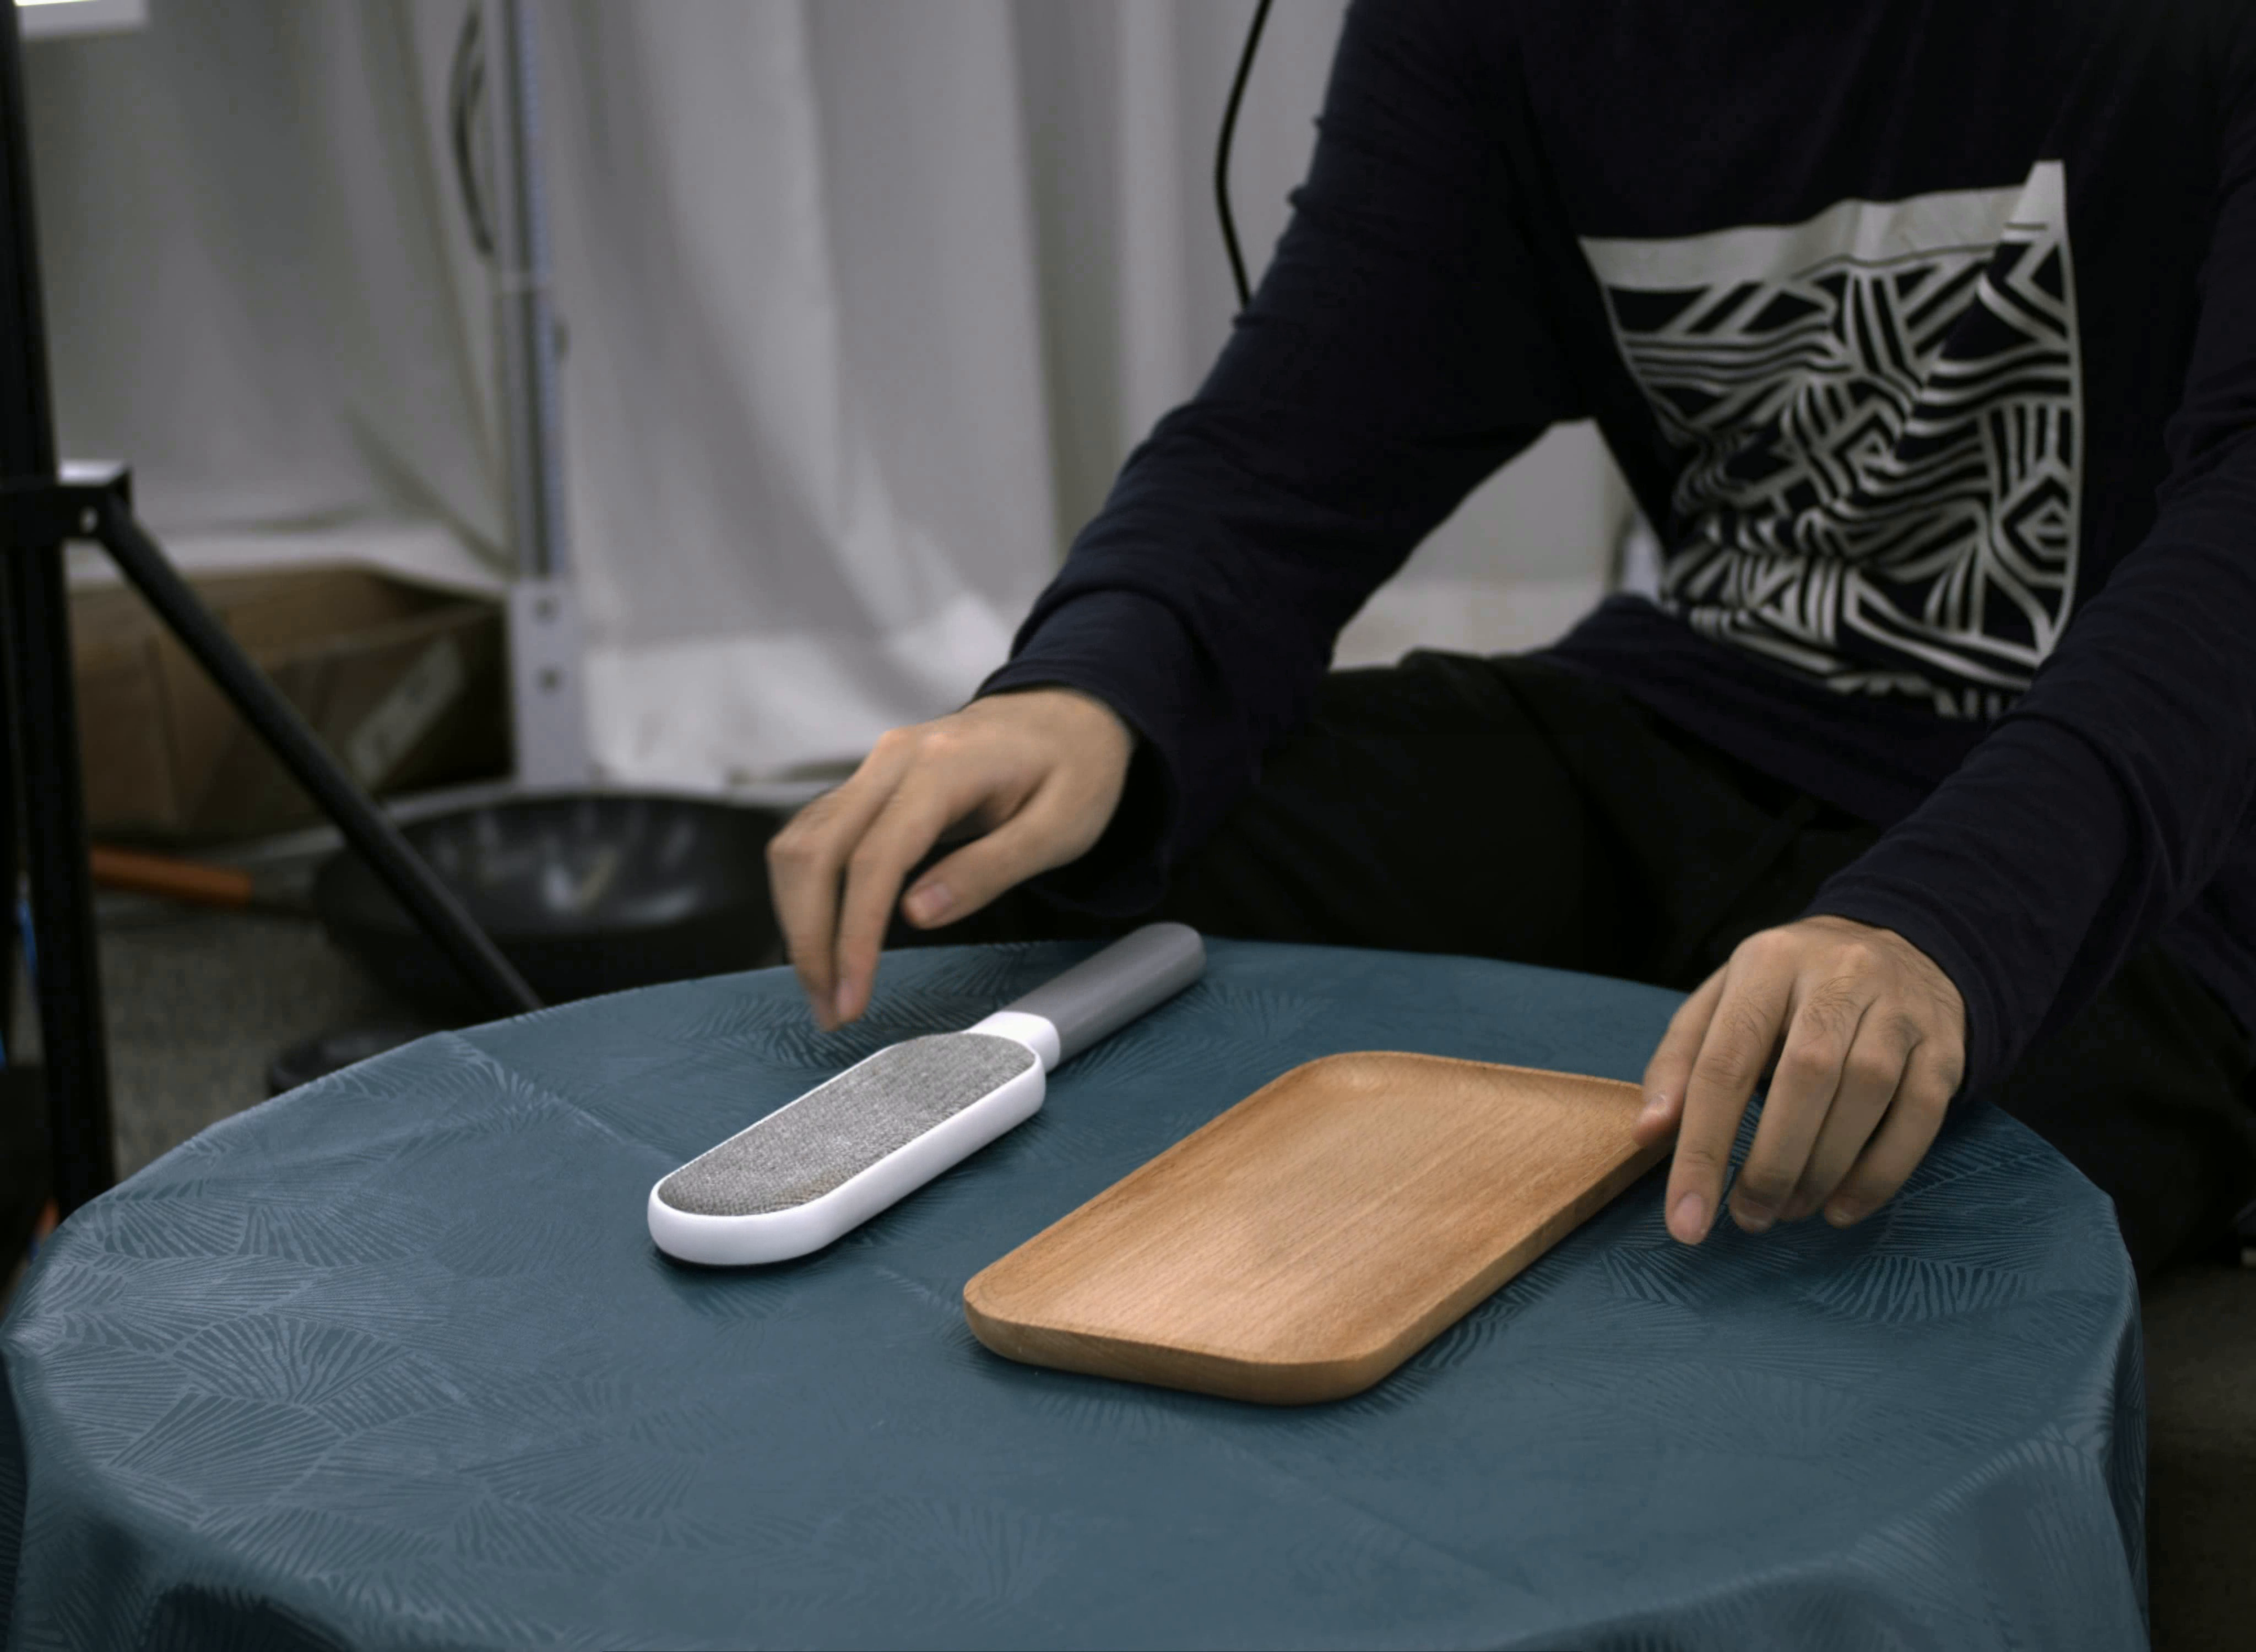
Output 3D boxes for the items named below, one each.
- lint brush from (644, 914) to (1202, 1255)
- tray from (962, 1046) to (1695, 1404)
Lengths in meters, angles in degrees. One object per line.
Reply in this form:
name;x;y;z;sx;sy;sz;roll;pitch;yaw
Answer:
lint brush;-0.052;0.076;1.633;0.061;0.021;0.304;1;15;29
tray;0.062;0.111;1.510;0.133;0.023;0.246;9;19;30
